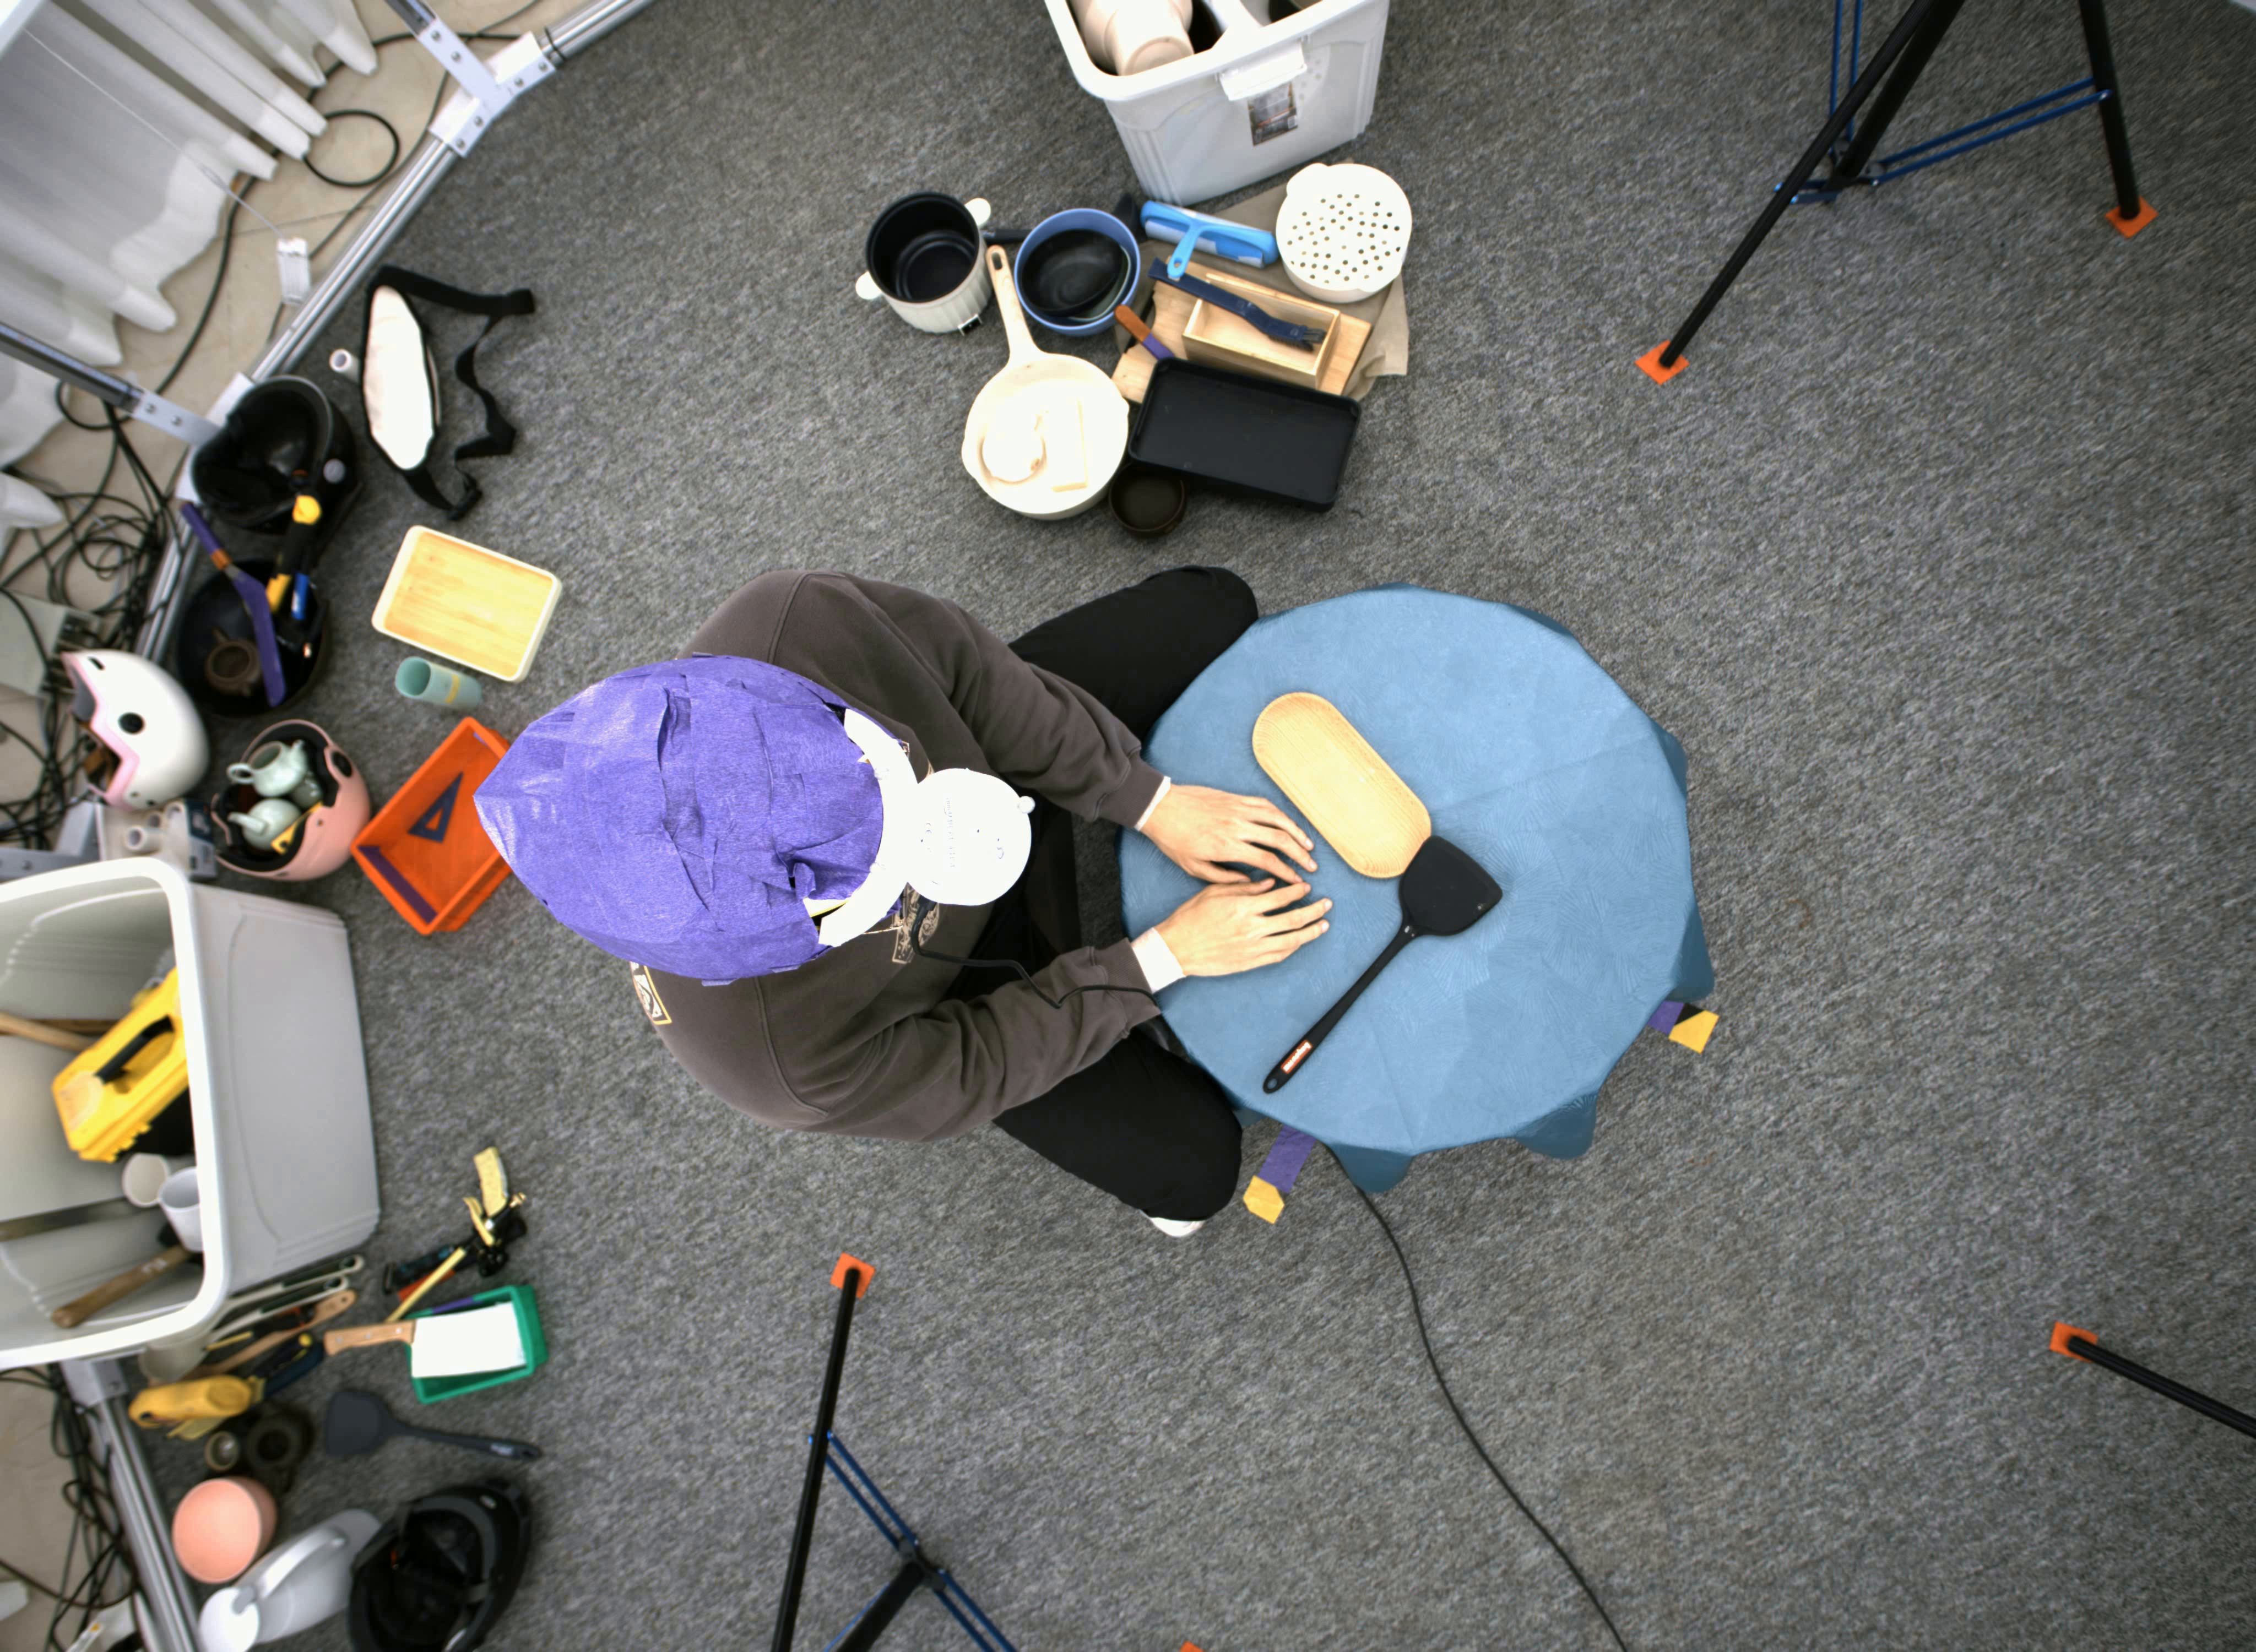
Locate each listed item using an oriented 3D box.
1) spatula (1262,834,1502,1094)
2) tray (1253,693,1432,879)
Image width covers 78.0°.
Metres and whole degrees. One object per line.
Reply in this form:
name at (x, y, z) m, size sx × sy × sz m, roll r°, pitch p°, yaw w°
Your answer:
spatula at (0.248, 0.156, 1.439) m, size 0.099 × 0.040 × 0.327 m, roll 42°, pitch 95°, yaw 11°
tray at (0.226, -0.044, 1.463) m, size 0.102 × 0.020 × 0.230 m, roll -42°, pitch 82°, yaw 6°
